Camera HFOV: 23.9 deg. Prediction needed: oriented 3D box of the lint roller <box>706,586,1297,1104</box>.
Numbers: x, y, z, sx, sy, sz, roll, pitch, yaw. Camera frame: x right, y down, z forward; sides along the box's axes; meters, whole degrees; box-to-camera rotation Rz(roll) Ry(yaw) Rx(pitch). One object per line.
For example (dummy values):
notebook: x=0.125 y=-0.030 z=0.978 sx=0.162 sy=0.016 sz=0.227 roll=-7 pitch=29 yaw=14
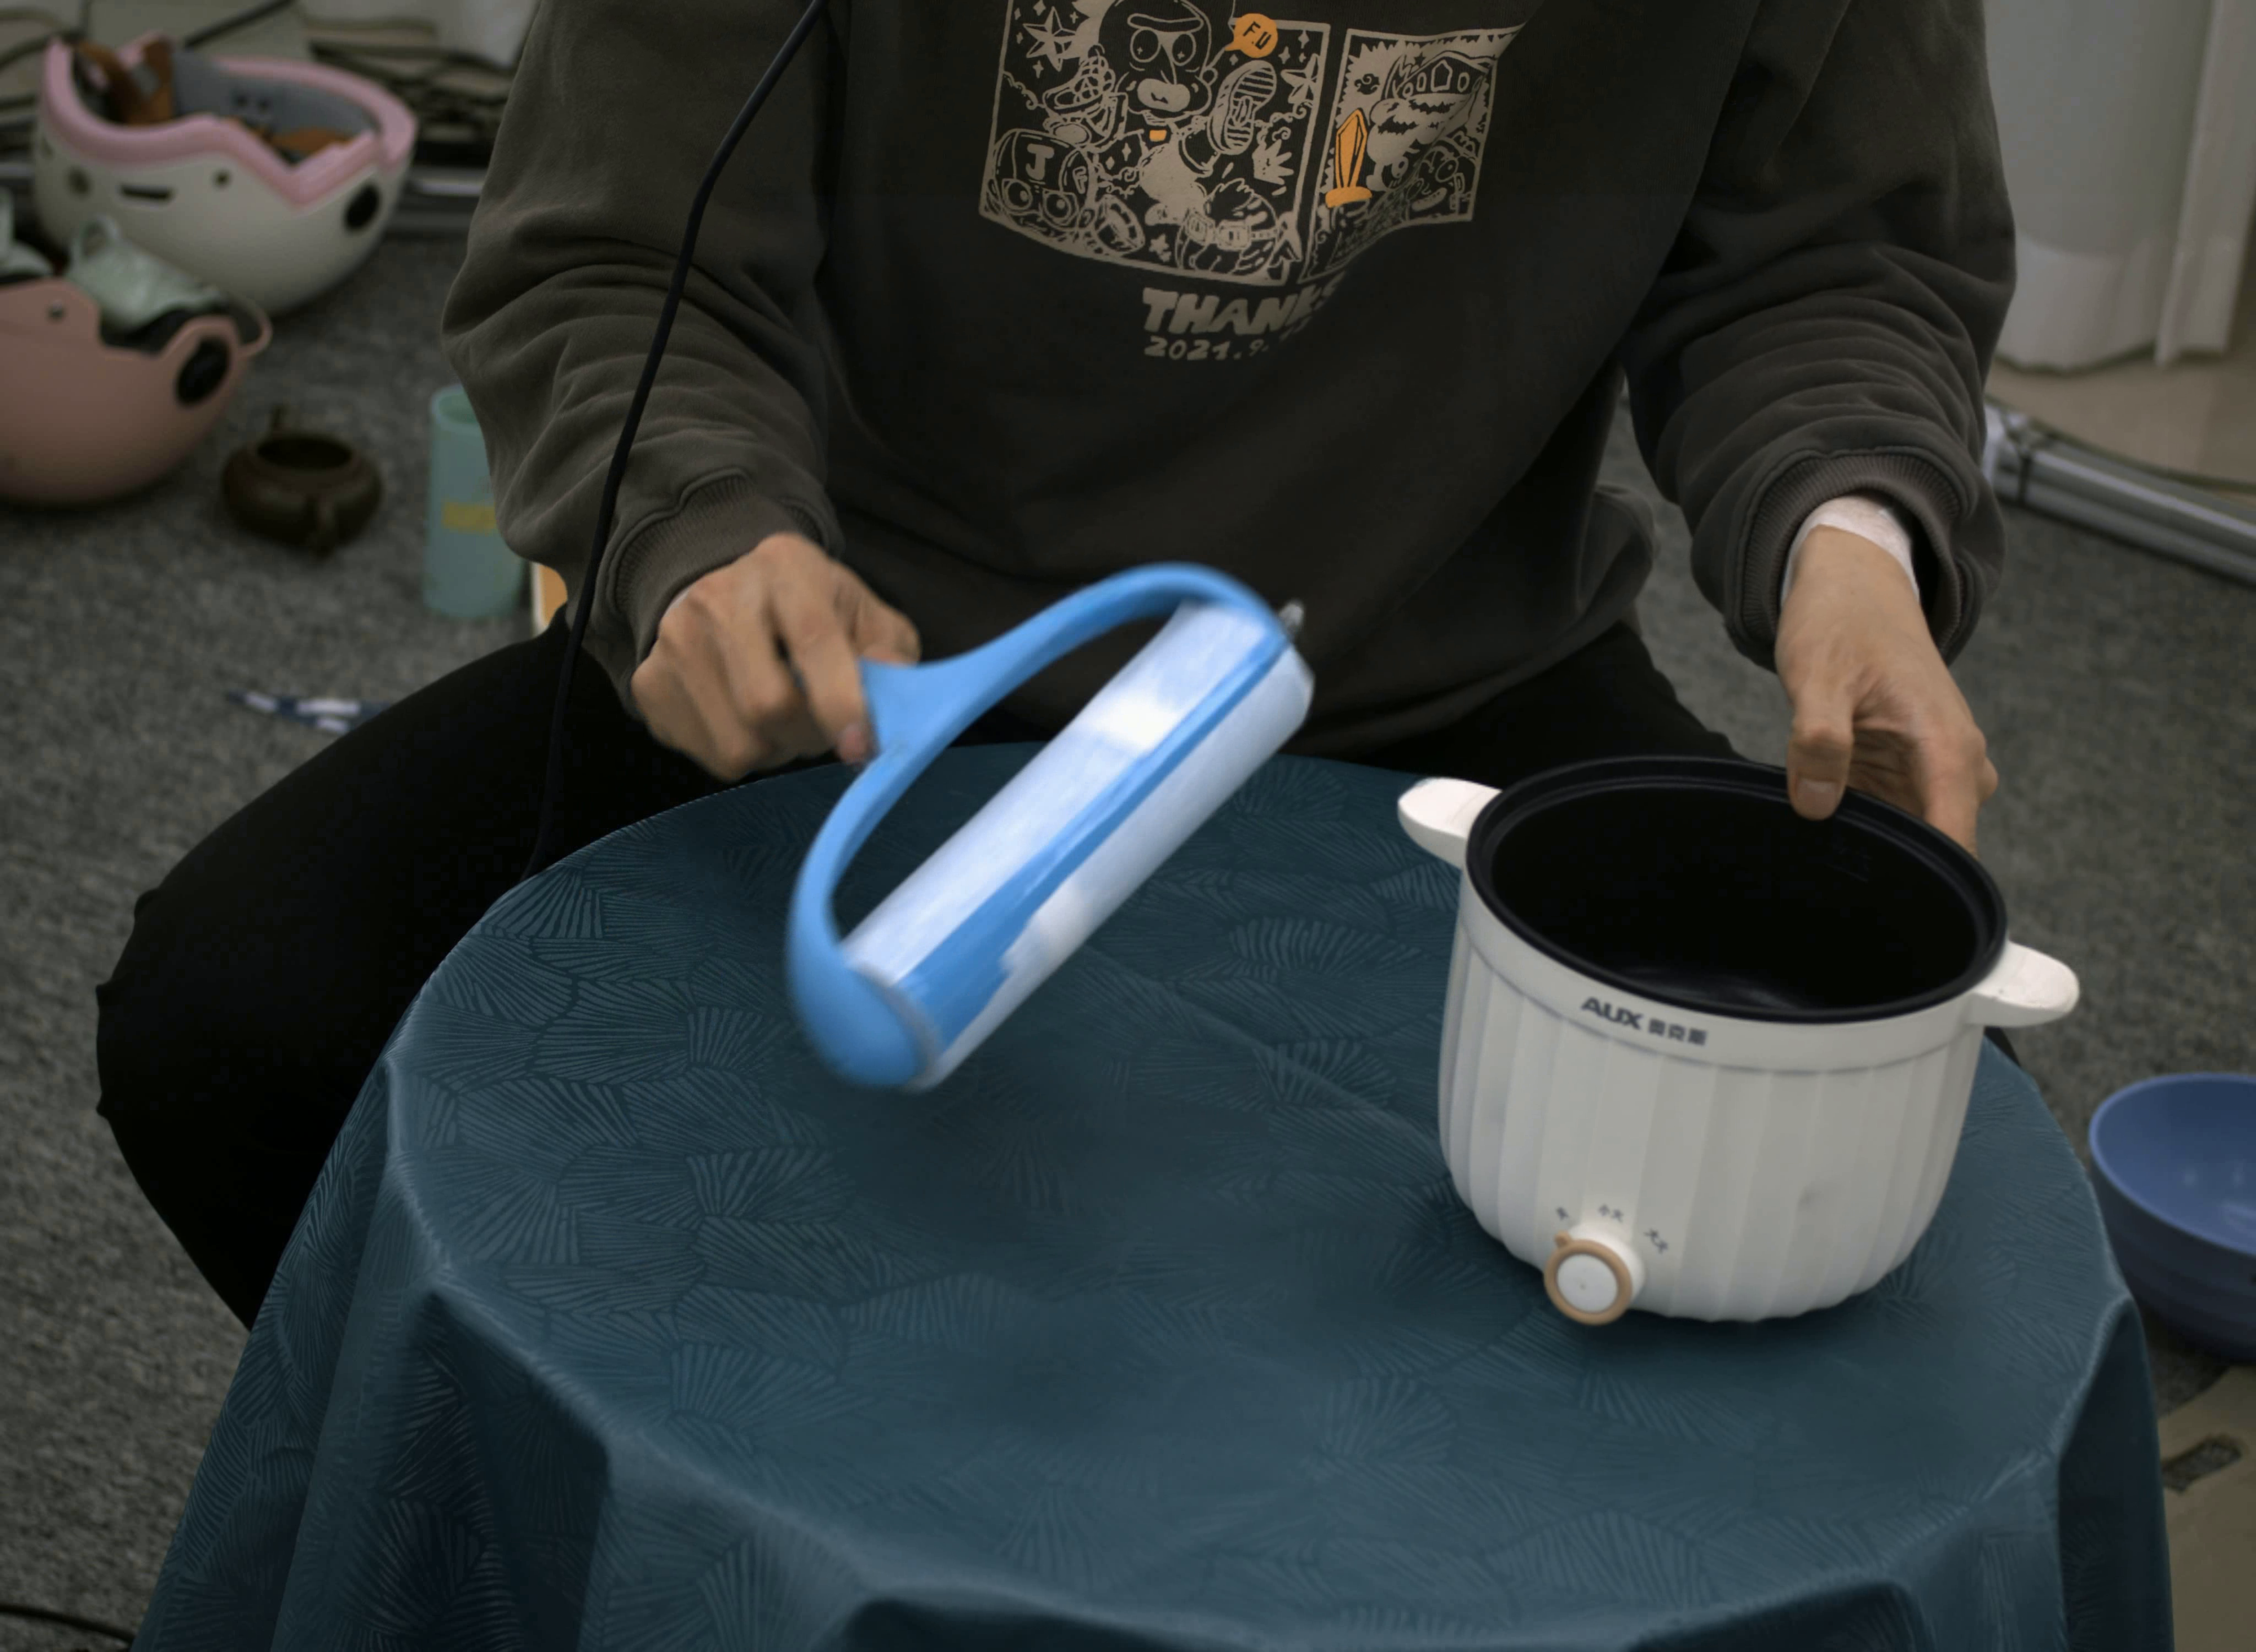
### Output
lint roller: x=-0.072 y=-0.016 z=1.746 sx=0.181 sy=0.067 sz=0.229 roll=28 pitch=56 yaw=26

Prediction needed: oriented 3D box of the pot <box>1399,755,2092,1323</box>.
pot: x=0.194 y=0.078 z=1.784 sx=0.241 sy=0.142 sz=0.190 roll=15 pitch=25 yaw=20
